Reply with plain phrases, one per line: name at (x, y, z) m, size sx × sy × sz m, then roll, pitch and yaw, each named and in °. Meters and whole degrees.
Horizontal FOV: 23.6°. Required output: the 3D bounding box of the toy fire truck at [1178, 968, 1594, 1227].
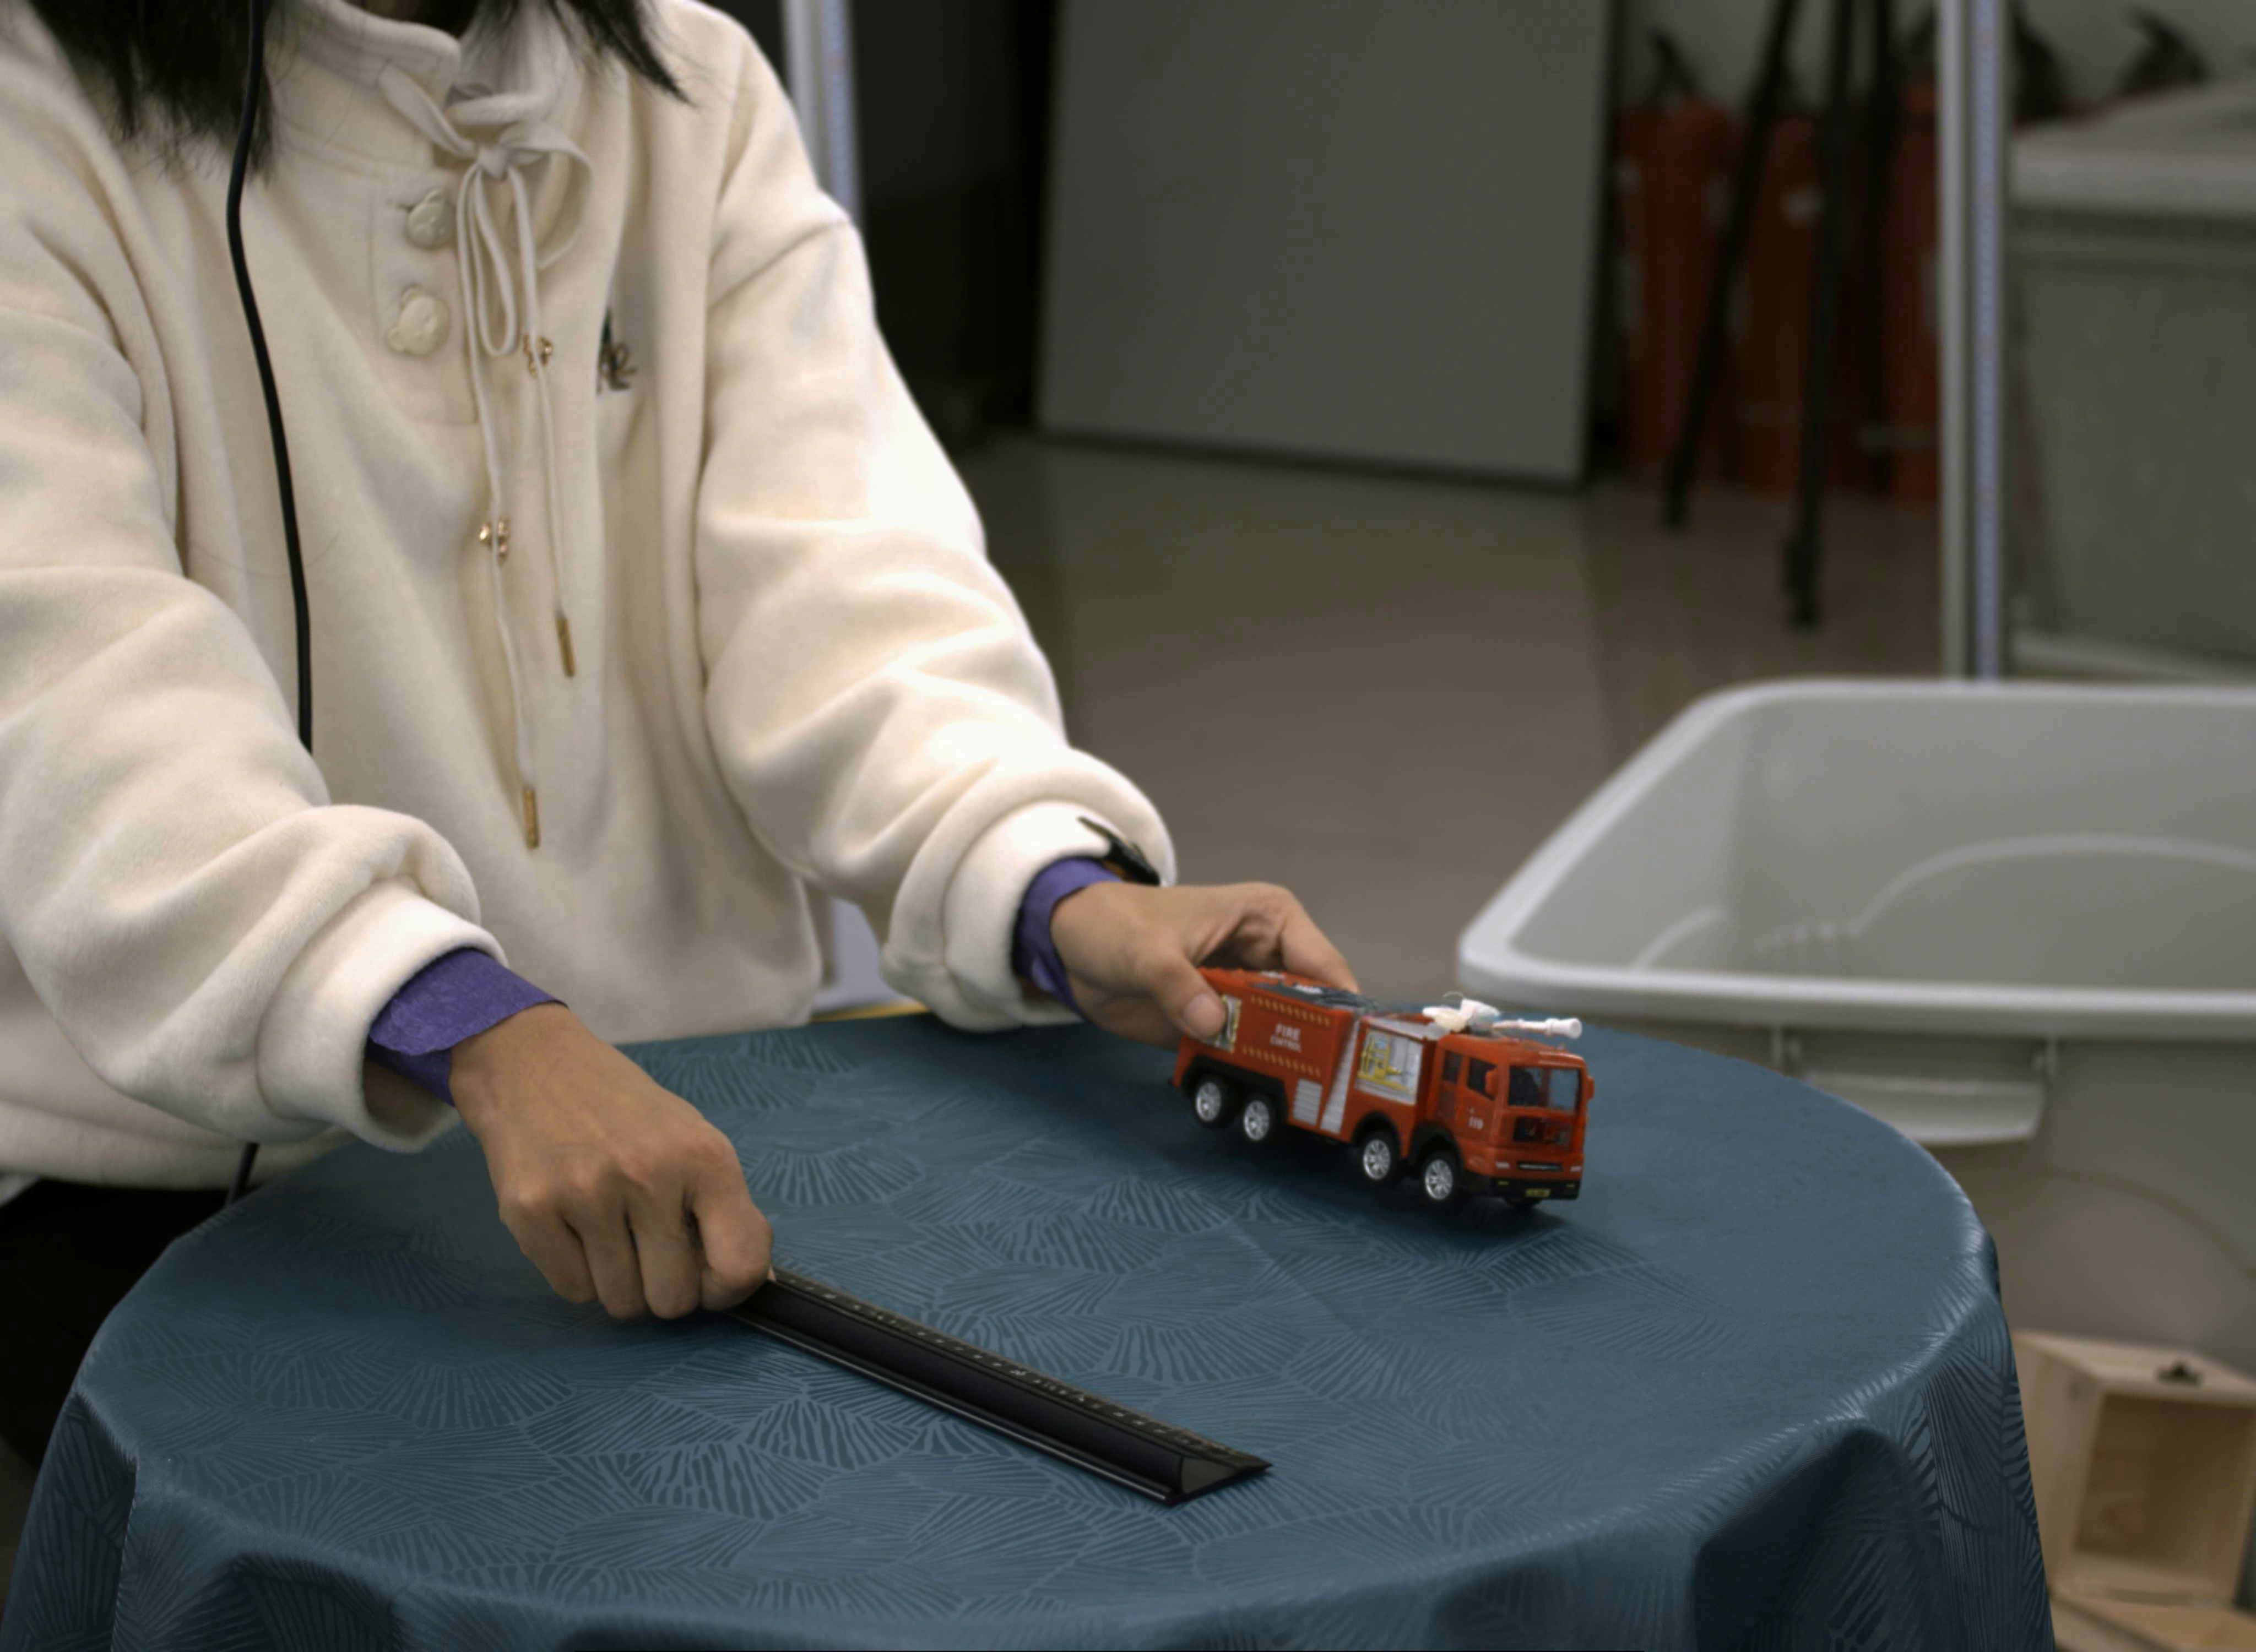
toy fire truck at (0.084, 0.085, 1.754) m, size 0.053 × 0.071 × 0.170 m, roll 4°, pitch 5°, yaw -38°

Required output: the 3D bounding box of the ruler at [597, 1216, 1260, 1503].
ruler at (-0.066, 0.153, 1.622) m, size 0.038 × 0.017 × 0.316 m, roll -12°, pitch 15°, yaw -34°
